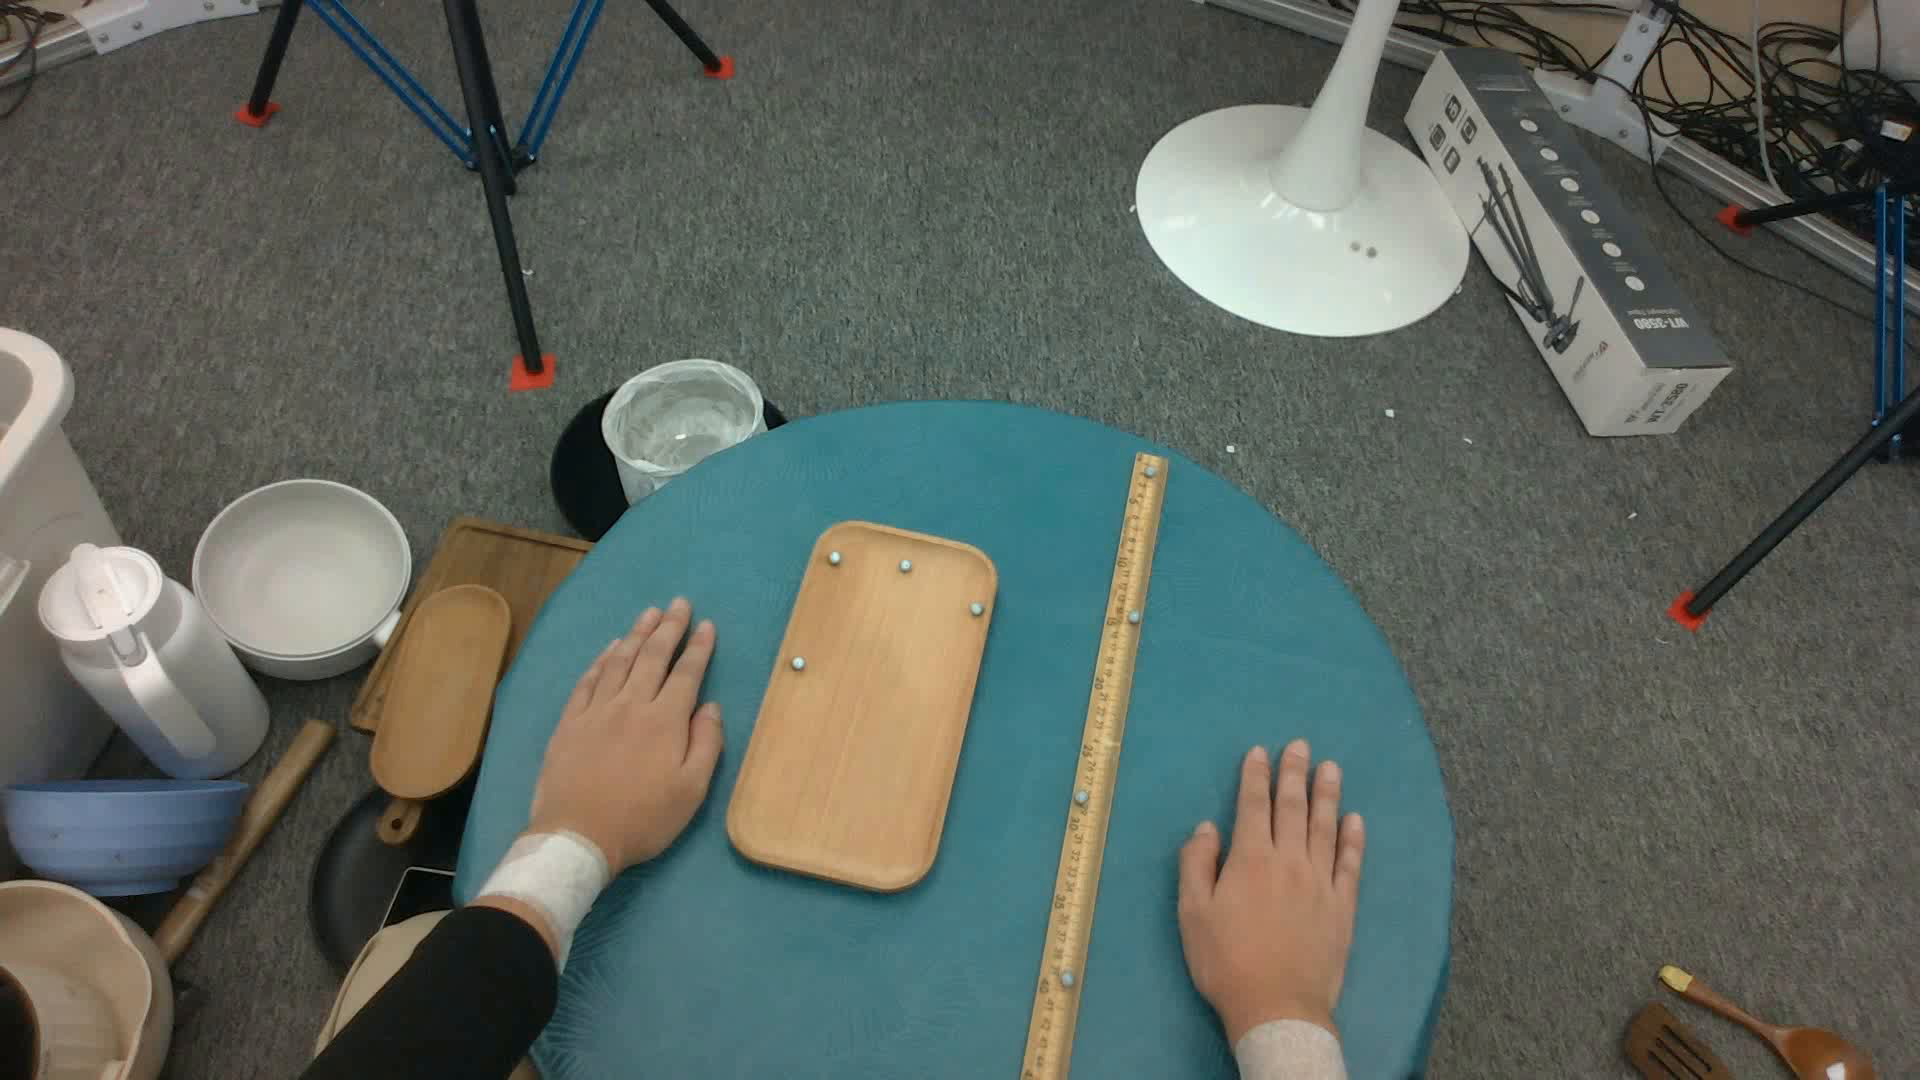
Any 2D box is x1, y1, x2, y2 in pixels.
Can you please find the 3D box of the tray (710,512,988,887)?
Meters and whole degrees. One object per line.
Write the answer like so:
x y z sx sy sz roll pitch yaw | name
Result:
-0.064 0.093 0.868 0.130 0.023 0.252 12 56 4 | tray

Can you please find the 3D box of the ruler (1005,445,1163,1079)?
0.082 0.130 0.866 0.027 0.006 0.503 12 55 5 | ruler
